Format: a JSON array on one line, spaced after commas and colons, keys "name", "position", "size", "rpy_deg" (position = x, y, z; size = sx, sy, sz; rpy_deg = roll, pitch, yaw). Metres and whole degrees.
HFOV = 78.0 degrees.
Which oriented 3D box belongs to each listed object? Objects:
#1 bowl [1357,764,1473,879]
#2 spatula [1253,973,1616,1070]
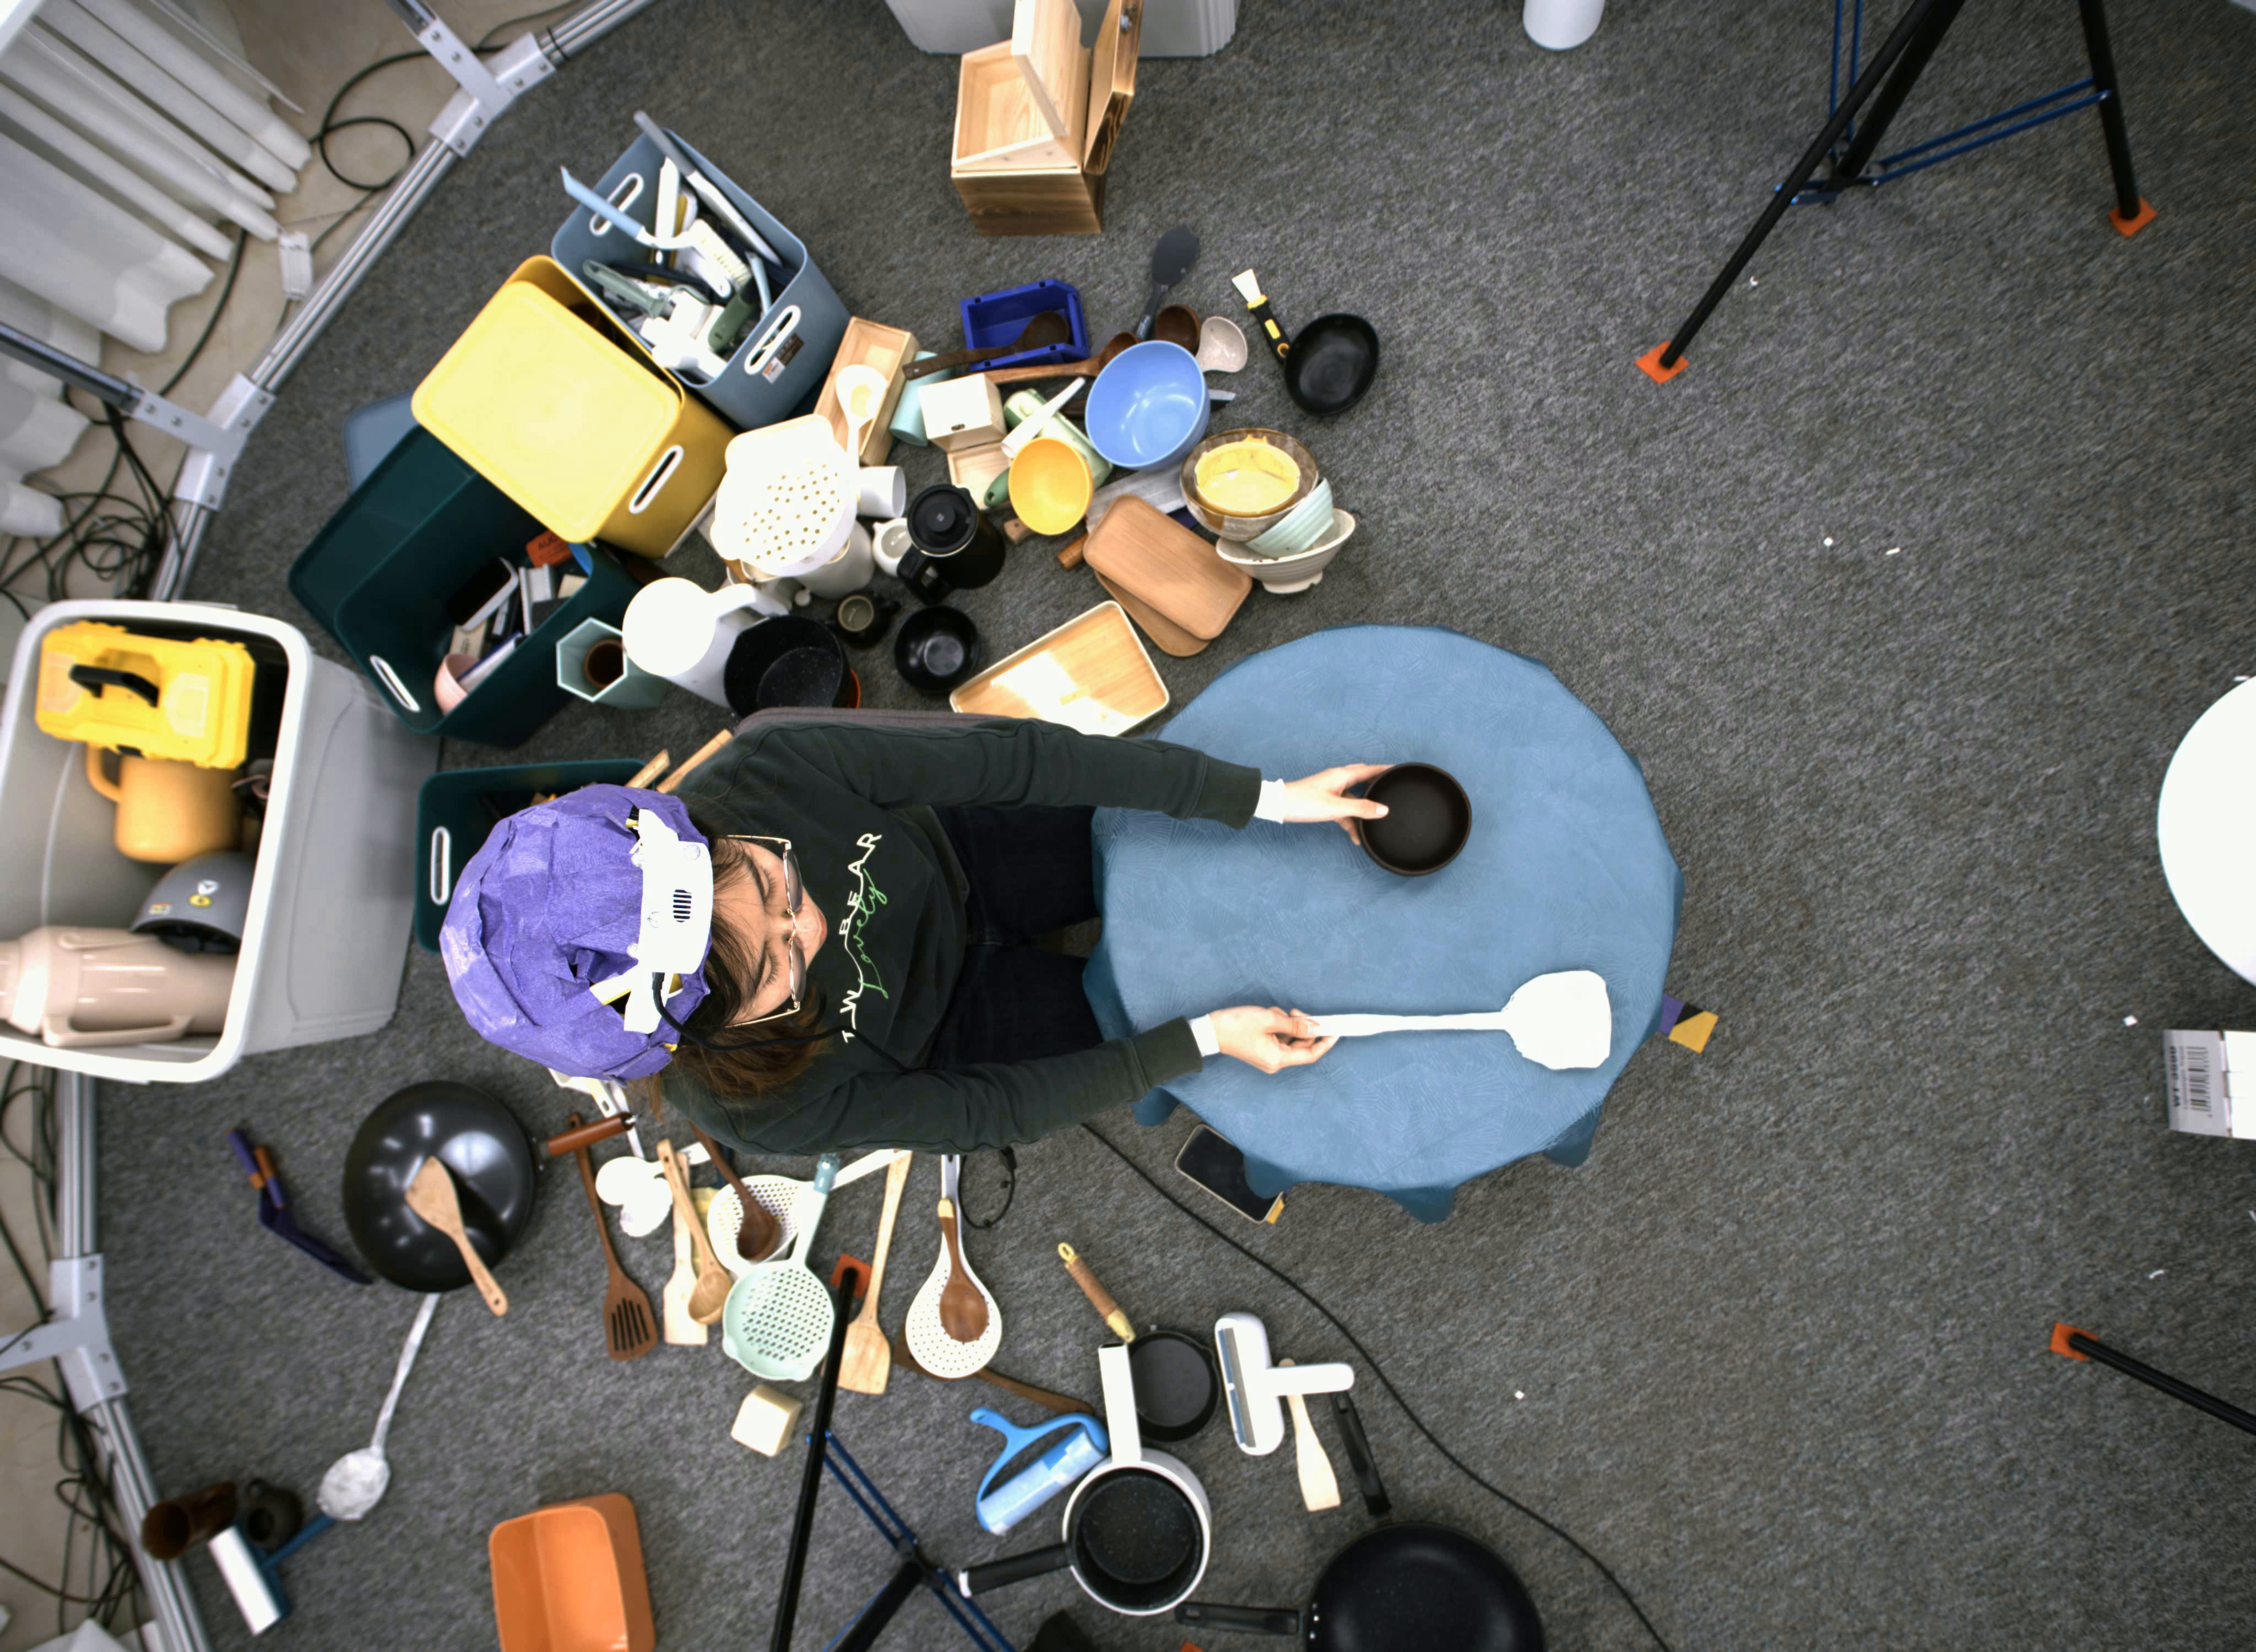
[{"name": "bowl", "position": [0.295, -0.004, 1.427], "size": [0.118, 0.070, 0.117], "rpy_deg": [-1, 85, 8]}, {"name": "spatula", "position": [0.311, 0.199, 1.420], "size": [0.366, 0.045, 0.098], "rpy_deg": [-1, 86, 5]}]
